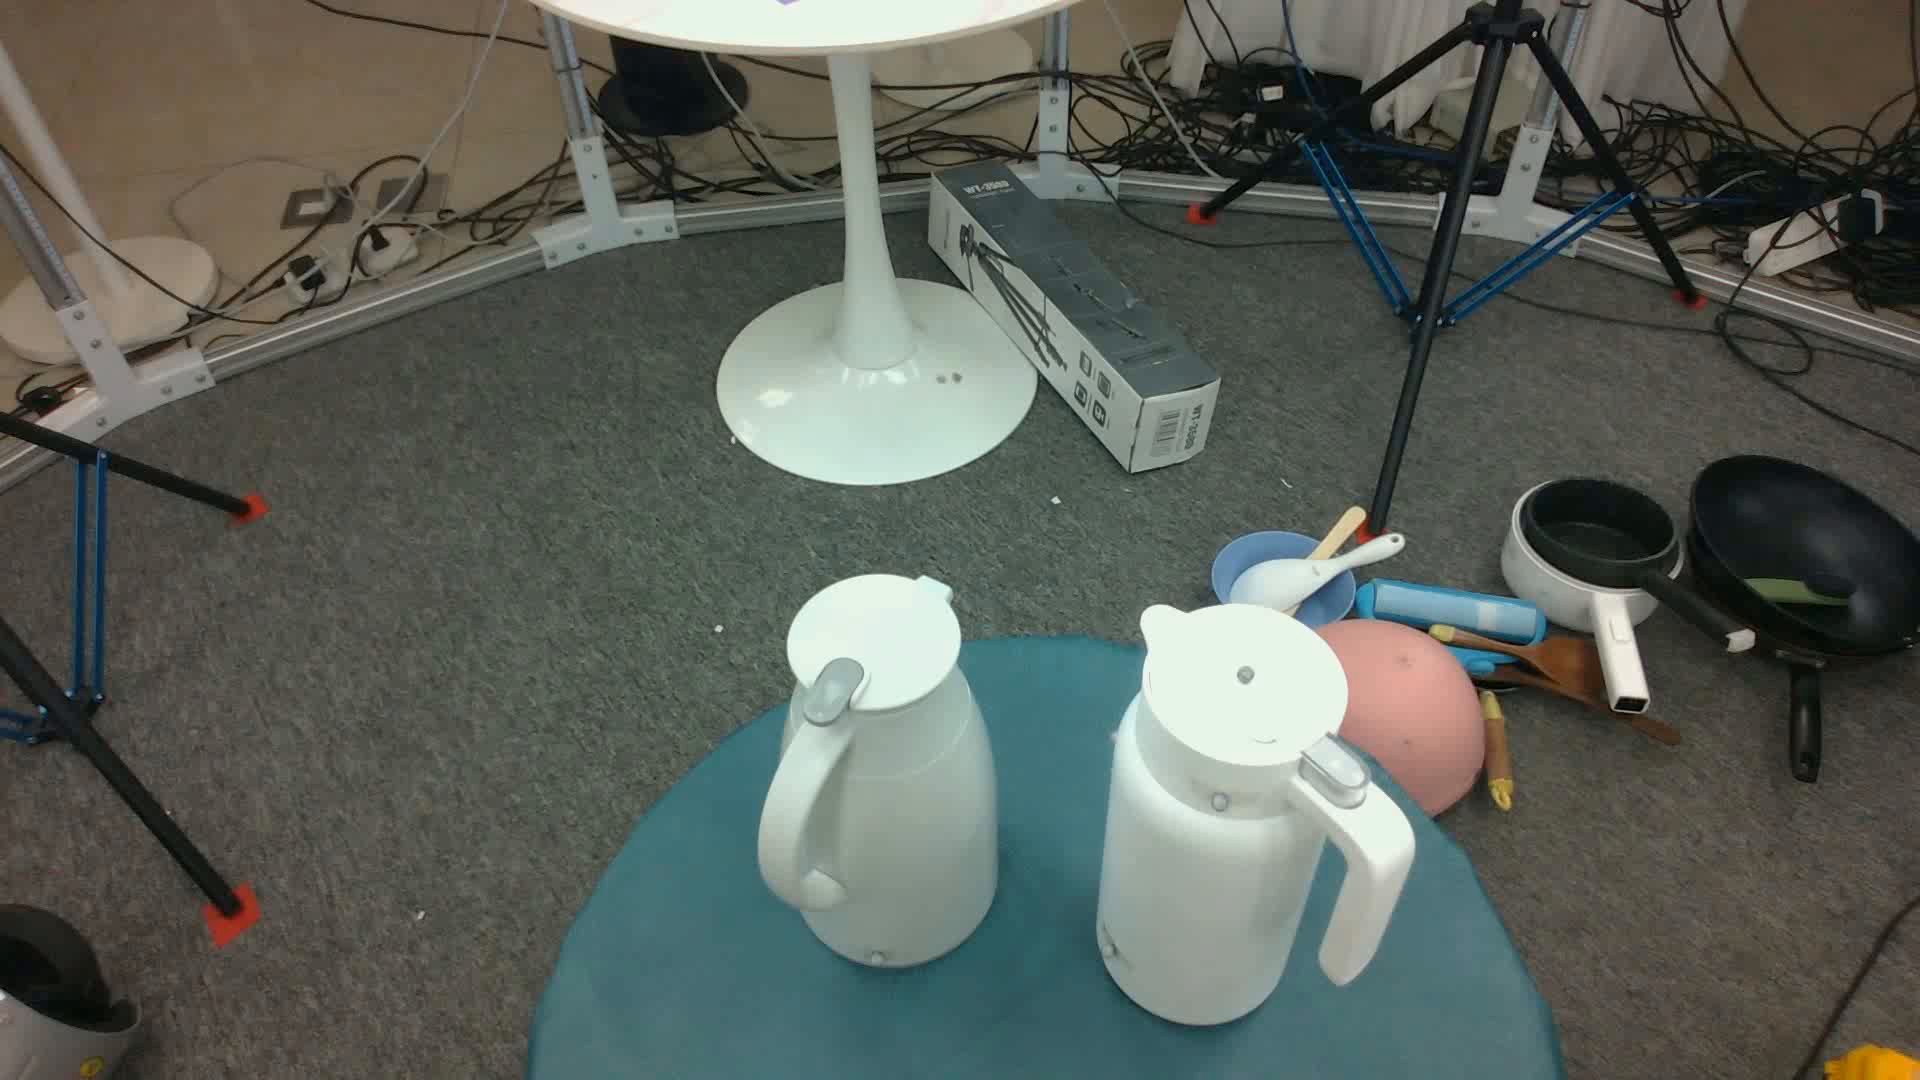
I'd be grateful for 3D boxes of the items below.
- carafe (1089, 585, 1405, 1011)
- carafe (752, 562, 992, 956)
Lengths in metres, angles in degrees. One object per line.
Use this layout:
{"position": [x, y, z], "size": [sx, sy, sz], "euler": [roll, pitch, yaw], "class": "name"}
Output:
{"position": [0.148, 0.160, 0.754], "size": [0.124, 0.267, 0.173], "euler": [-29, 53, -27], "class": "carafe"}
{"position": [-0.056, 0.137, 0.790], "size": [0.132, 0.247, 0.168], "euler": [22, 52, 20], "class": "carafe"}
